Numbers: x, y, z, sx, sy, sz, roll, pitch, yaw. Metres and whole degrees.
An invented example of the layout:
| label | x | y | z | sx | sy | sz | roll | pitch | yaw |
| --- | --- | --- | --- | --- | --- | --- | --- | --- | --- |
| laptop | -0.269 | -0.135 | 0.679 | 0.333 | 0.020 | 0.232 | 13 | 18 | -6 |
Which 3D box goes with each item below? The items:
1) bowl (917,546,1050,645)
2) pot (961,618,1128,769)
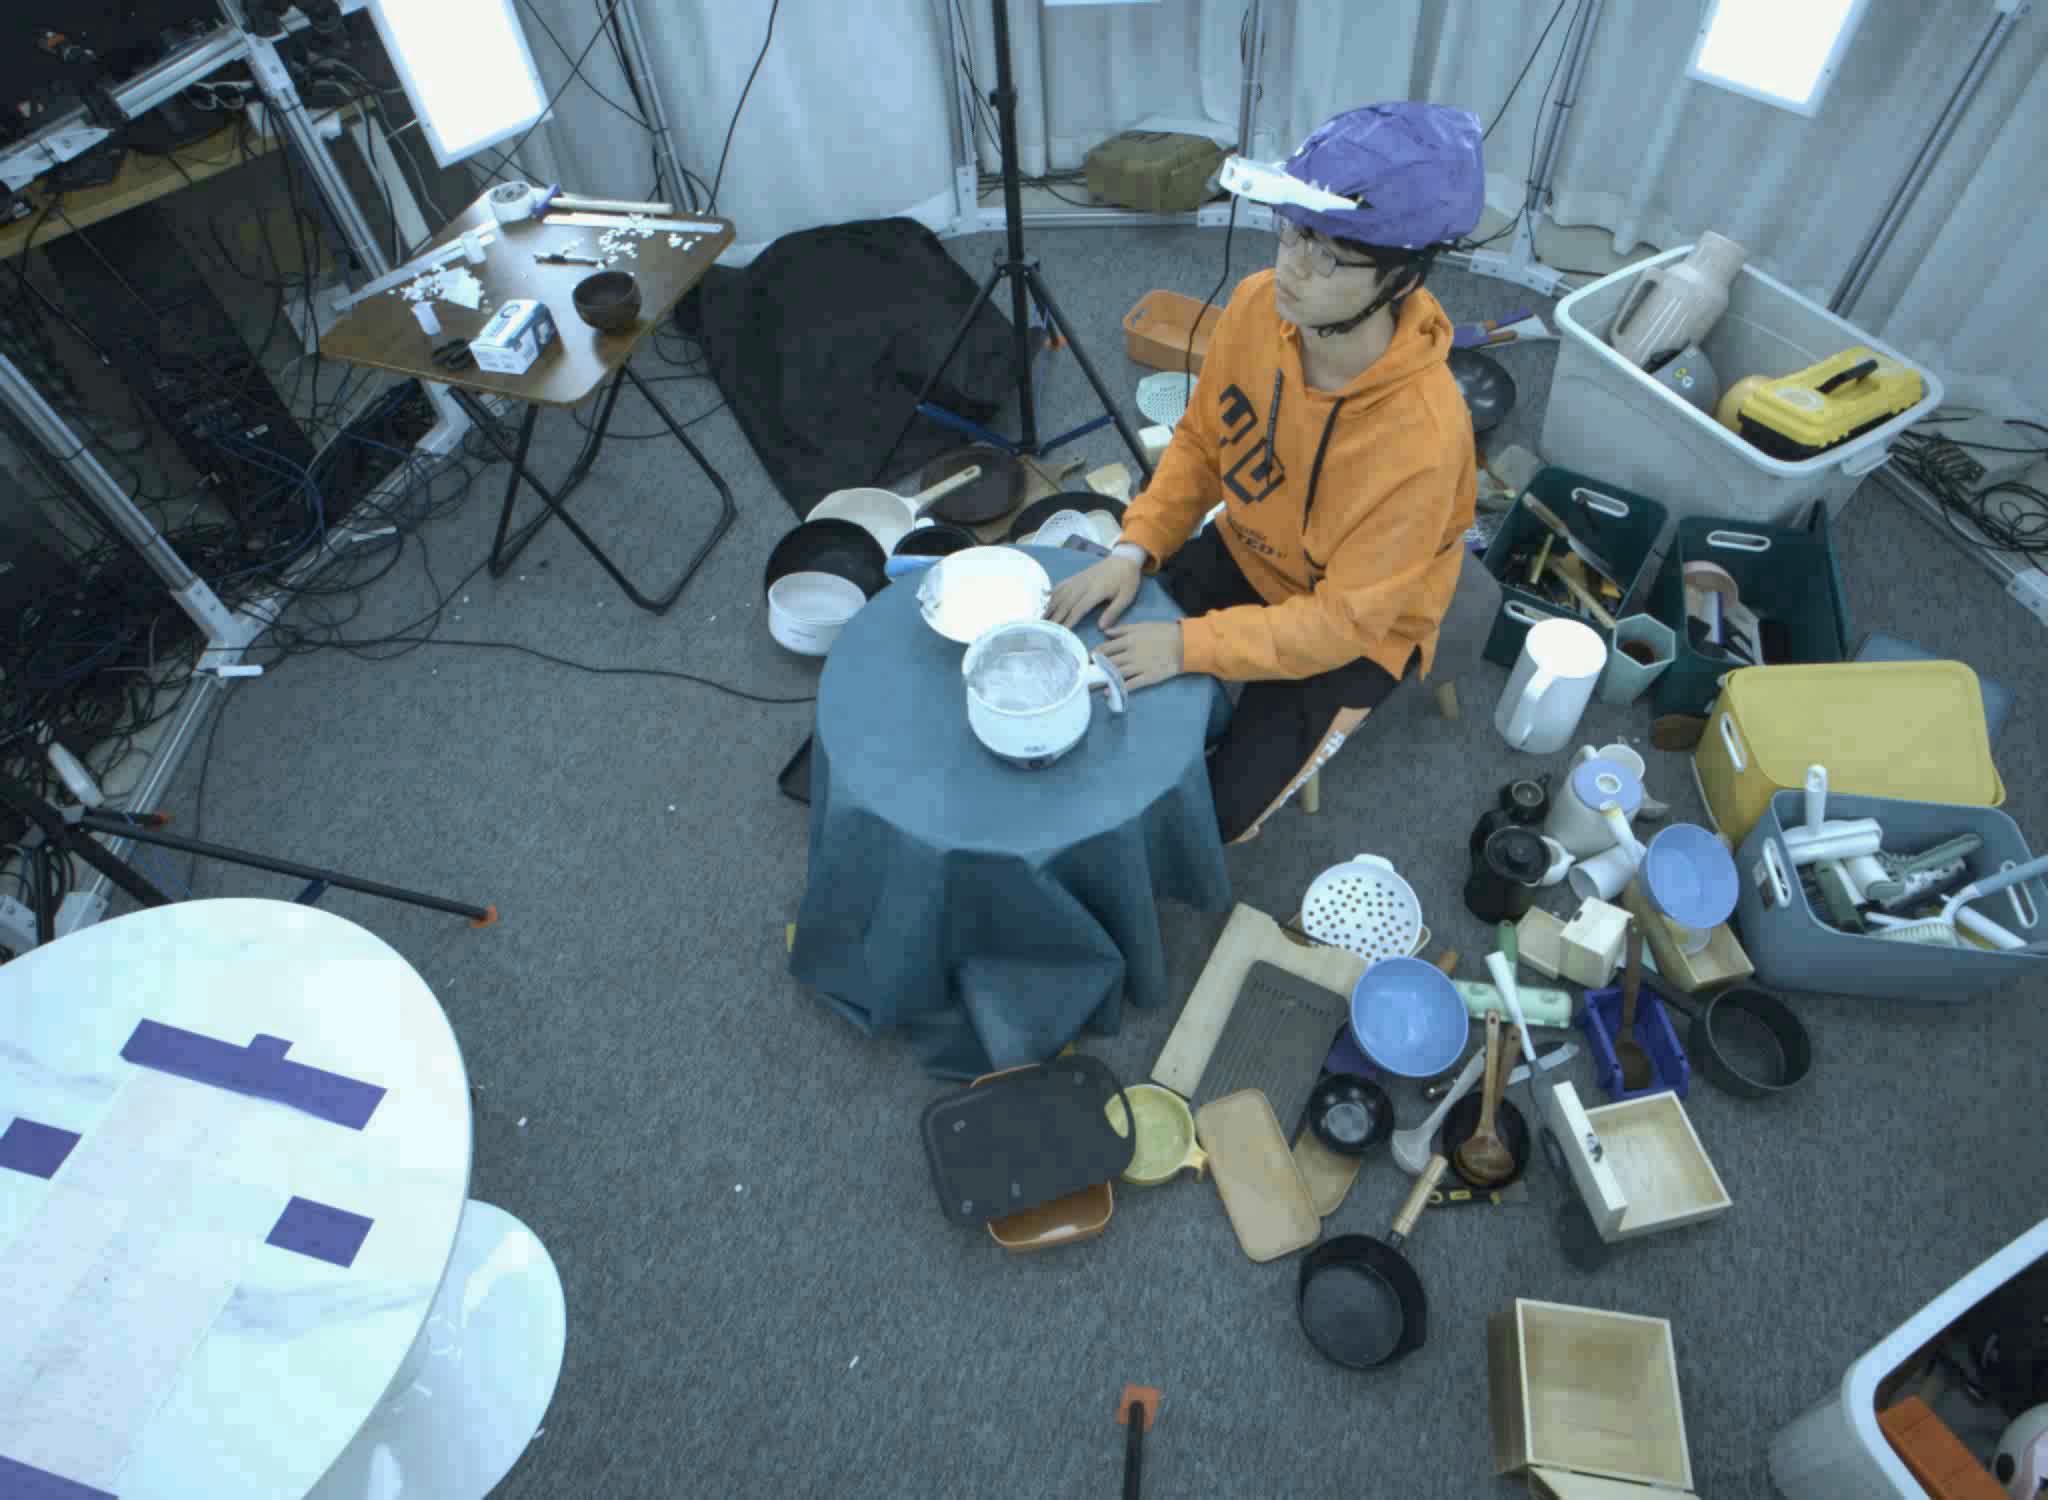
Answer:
| label | x | y | z | sx | sy | sz | roll | pitch | yaw |
| --- | --- | --- | --- | --- | --- | --- | --- | --- | --- |
| bowl | -0.061 | -0.217 | 1.897 | 0.204 | 0.079 | 0.202 | 0 | 54 | 1 |
| pot | 0.032 | -0.084 | 1.761 | 0.234 | 0.138 | 0.176 | -8 | 55 | -3 |
